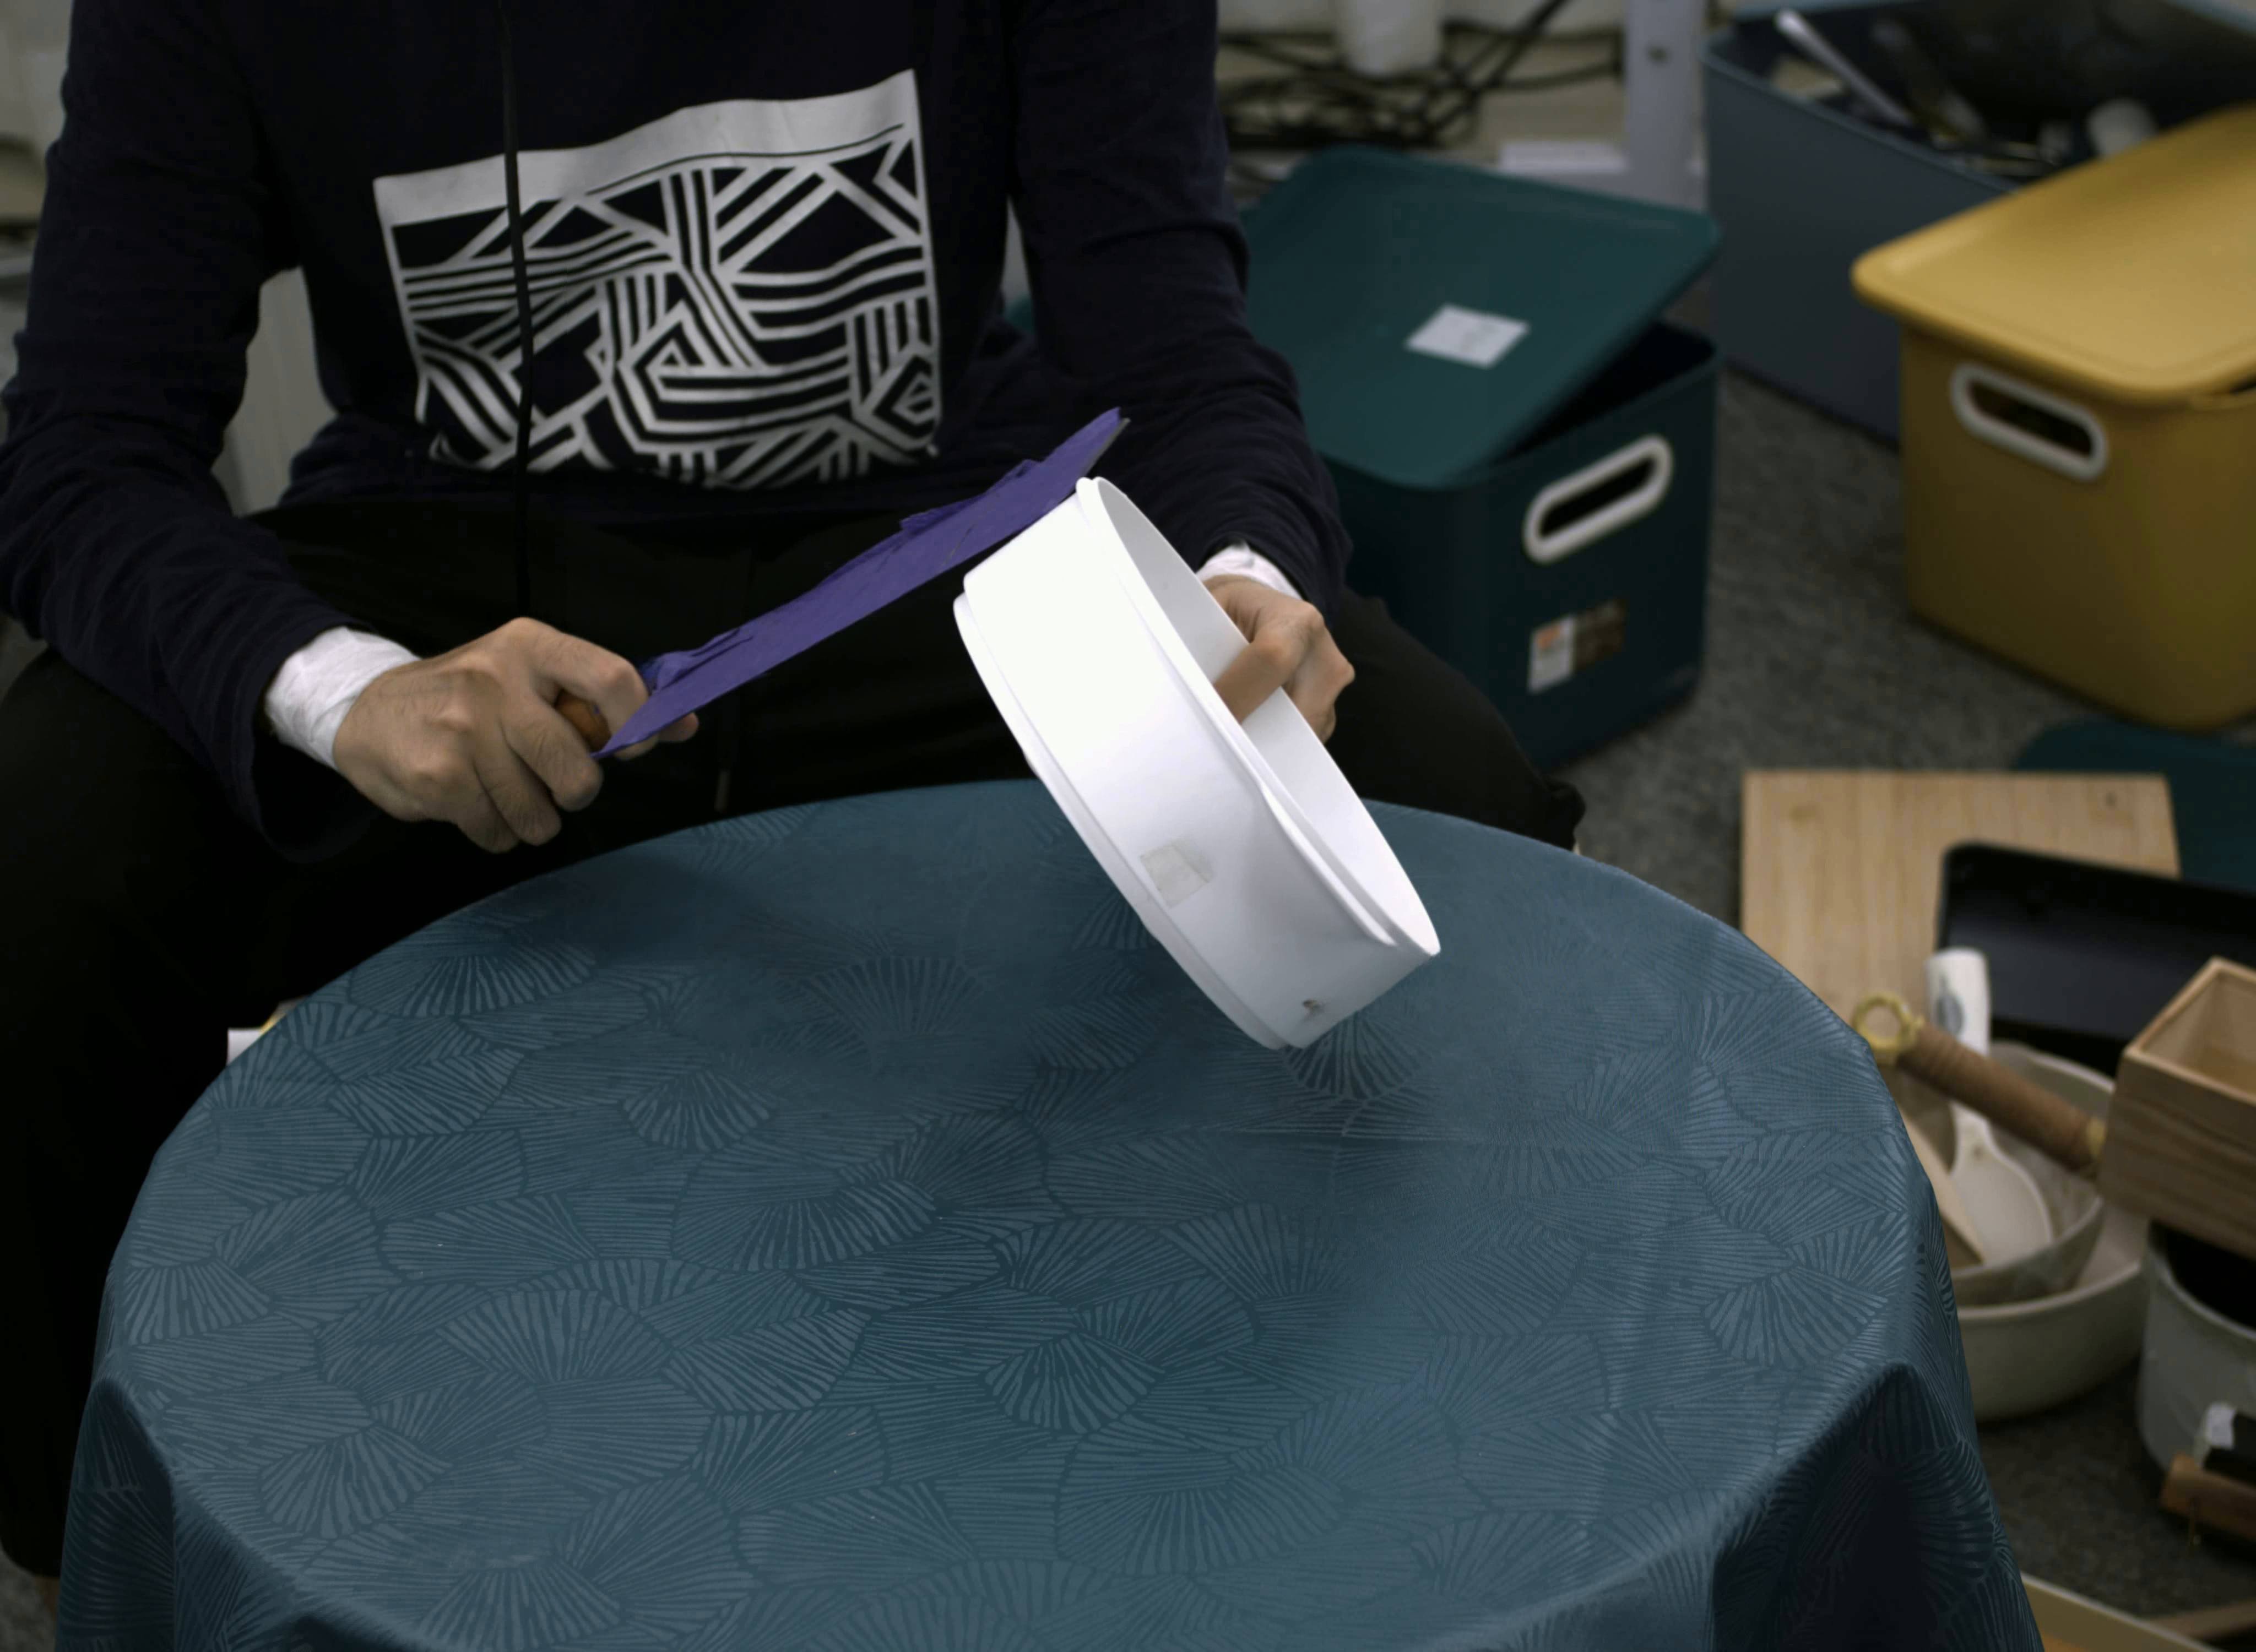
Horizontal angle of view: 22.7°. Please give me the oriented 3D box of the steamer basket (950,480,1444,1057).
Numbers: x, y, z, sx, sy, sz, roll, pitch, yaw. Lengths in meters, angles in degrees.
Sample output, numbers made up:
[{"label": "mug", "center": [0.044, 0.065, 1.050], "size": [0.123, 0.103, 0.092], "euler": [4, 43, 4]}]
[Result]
[{"label": "steamer basket", "center": [0.021, -0.016, 1.857], "size": [0.069, 0.200, 0.233], "euler": [-36, 30, 5]}]

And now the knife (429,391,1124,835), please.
[{"label": "knife", "center": [-0.136, -0.064, 1.963], "size": [0.311, 0.032, 0.105], "euler": [-30, 12, 27]}]
